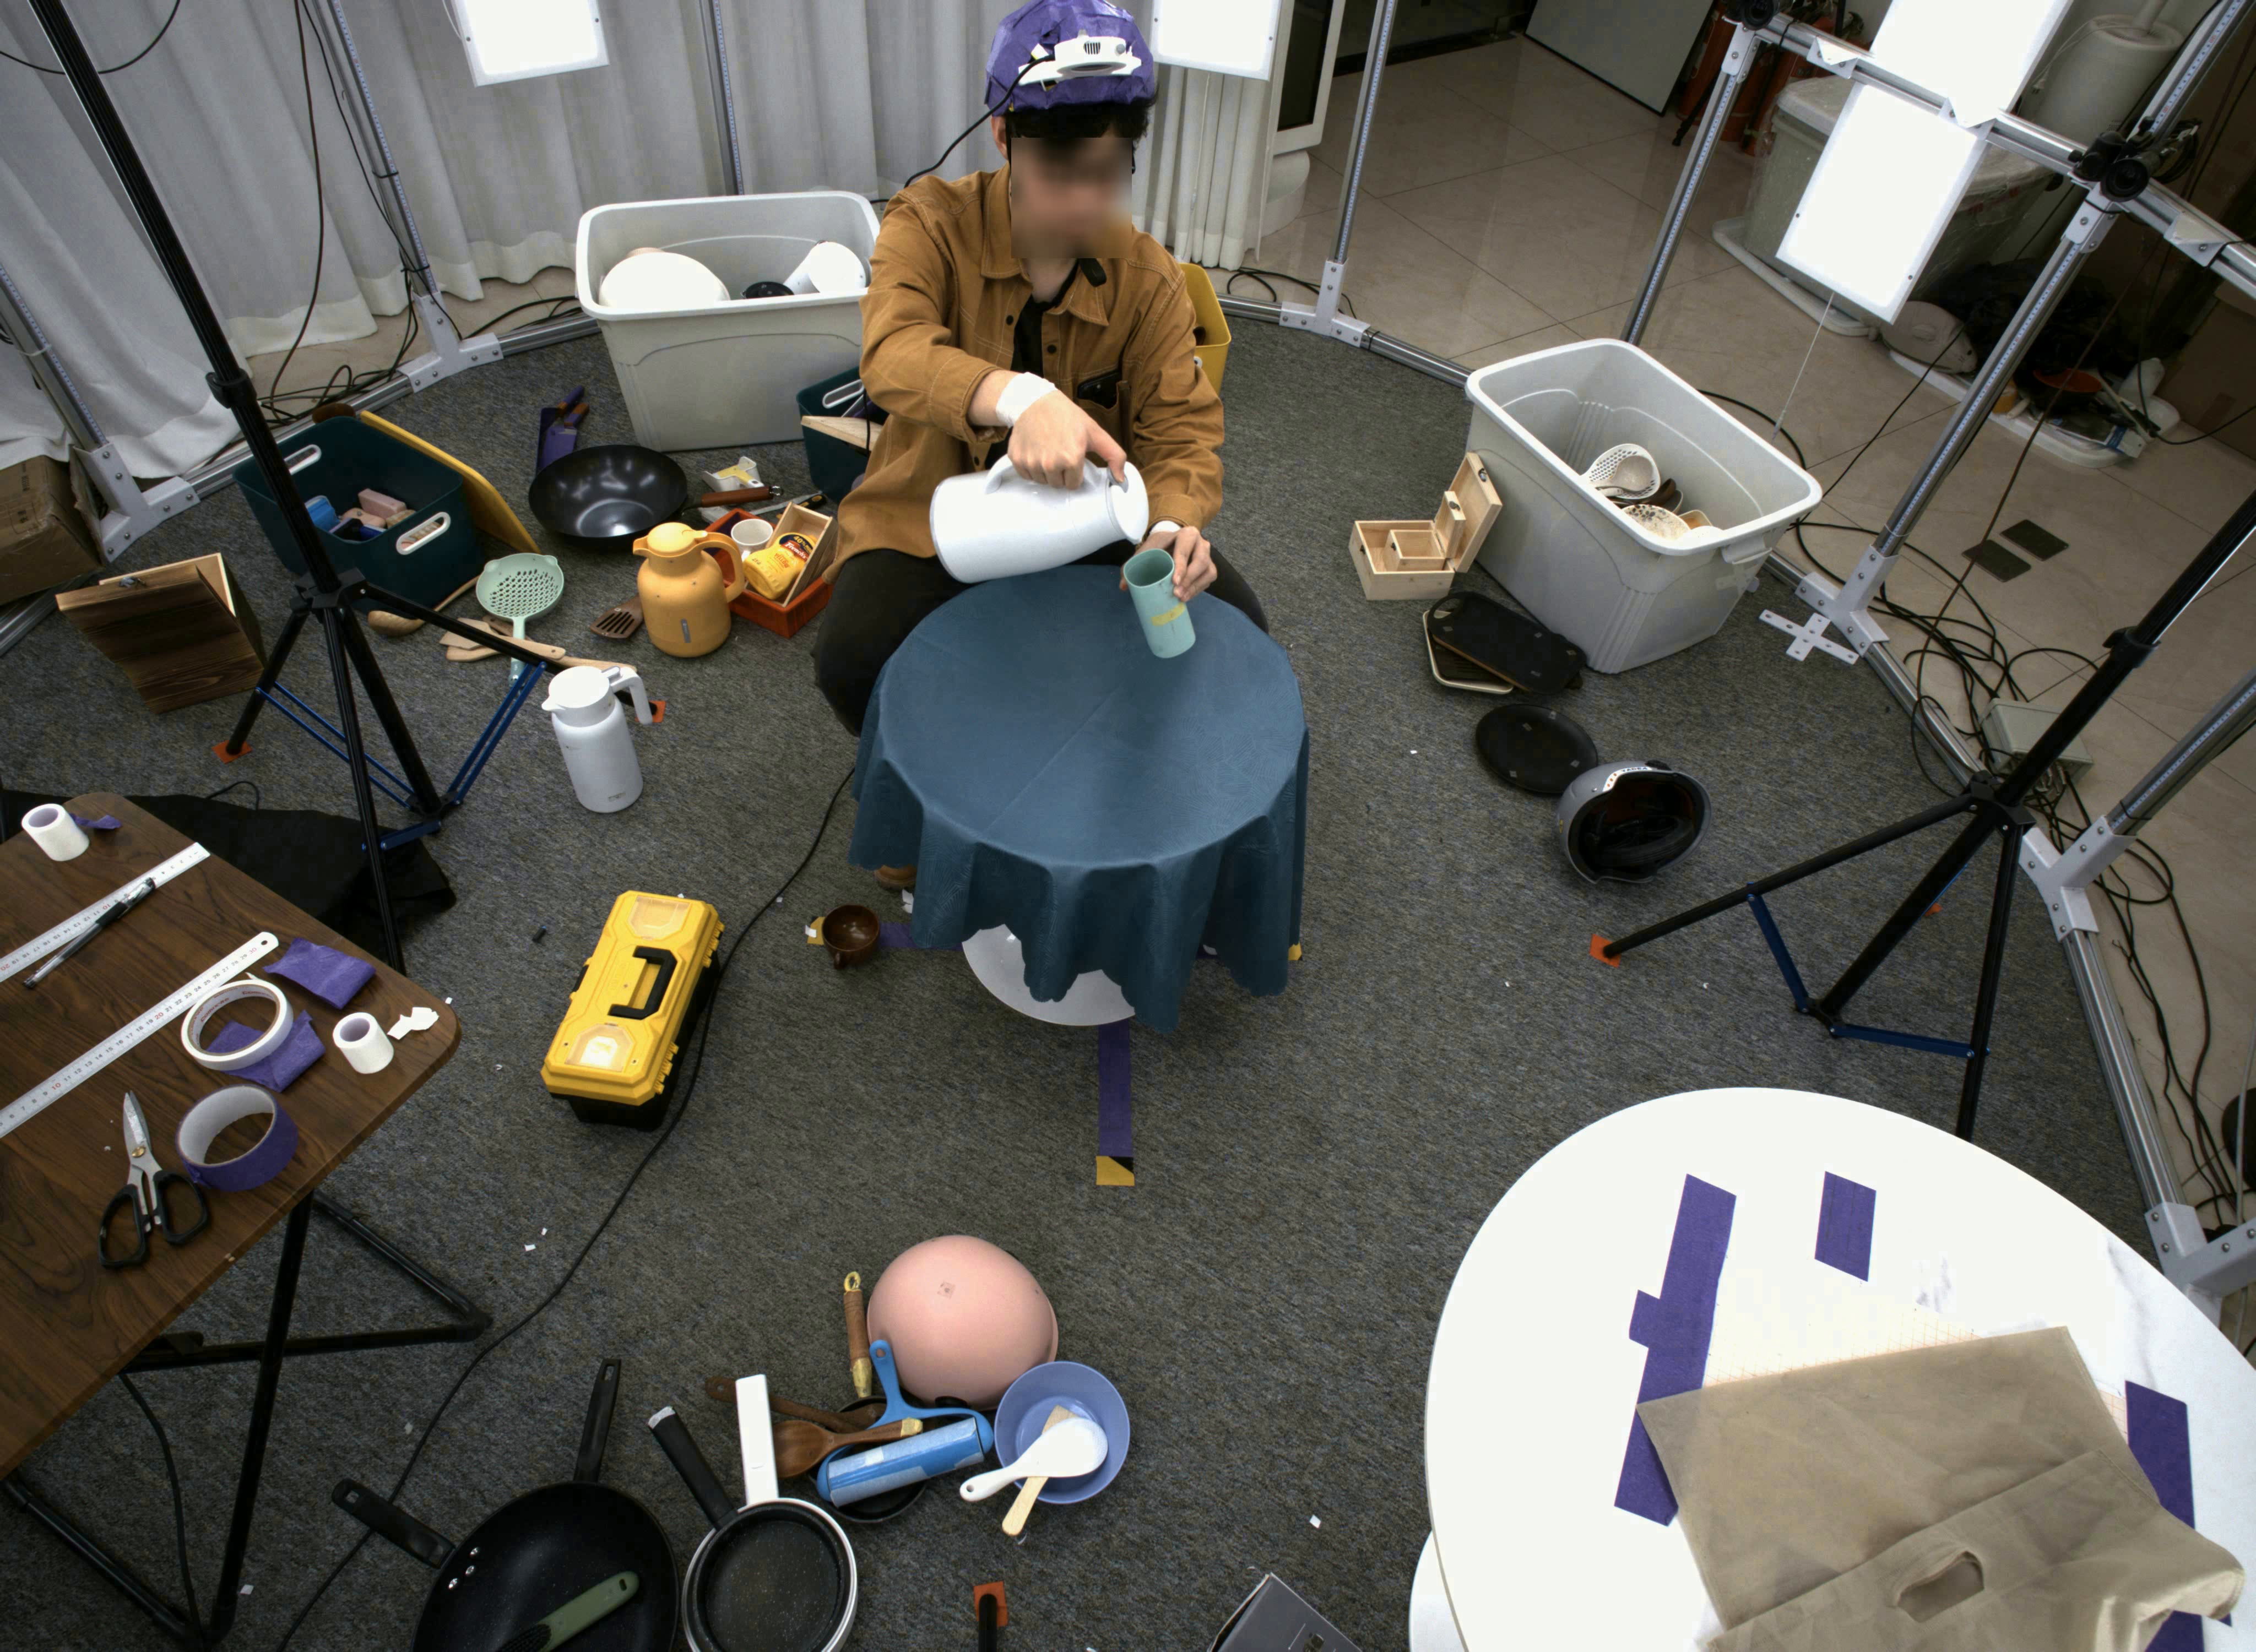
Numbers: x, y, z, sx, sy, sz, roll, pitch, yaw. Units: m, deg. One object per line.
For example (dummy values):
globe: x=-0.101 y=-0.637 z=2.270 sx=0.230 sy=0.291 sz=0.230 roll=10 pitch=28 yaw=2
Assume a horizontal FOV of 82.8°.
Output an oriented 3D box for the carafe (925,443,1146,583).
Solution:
carafe: x=-0.112 y=-0.379 z=1.524 sx=0.249 sy=0.164 sz=0.135 roll=-2 pitch=61 yaw=29

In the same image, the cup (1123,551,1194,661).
cup: x=0.040 y=-0.277 z=1.622 sx=0.067 sy=0.129 sz=0.068 roll=-9 pitch=52 yaw=11
